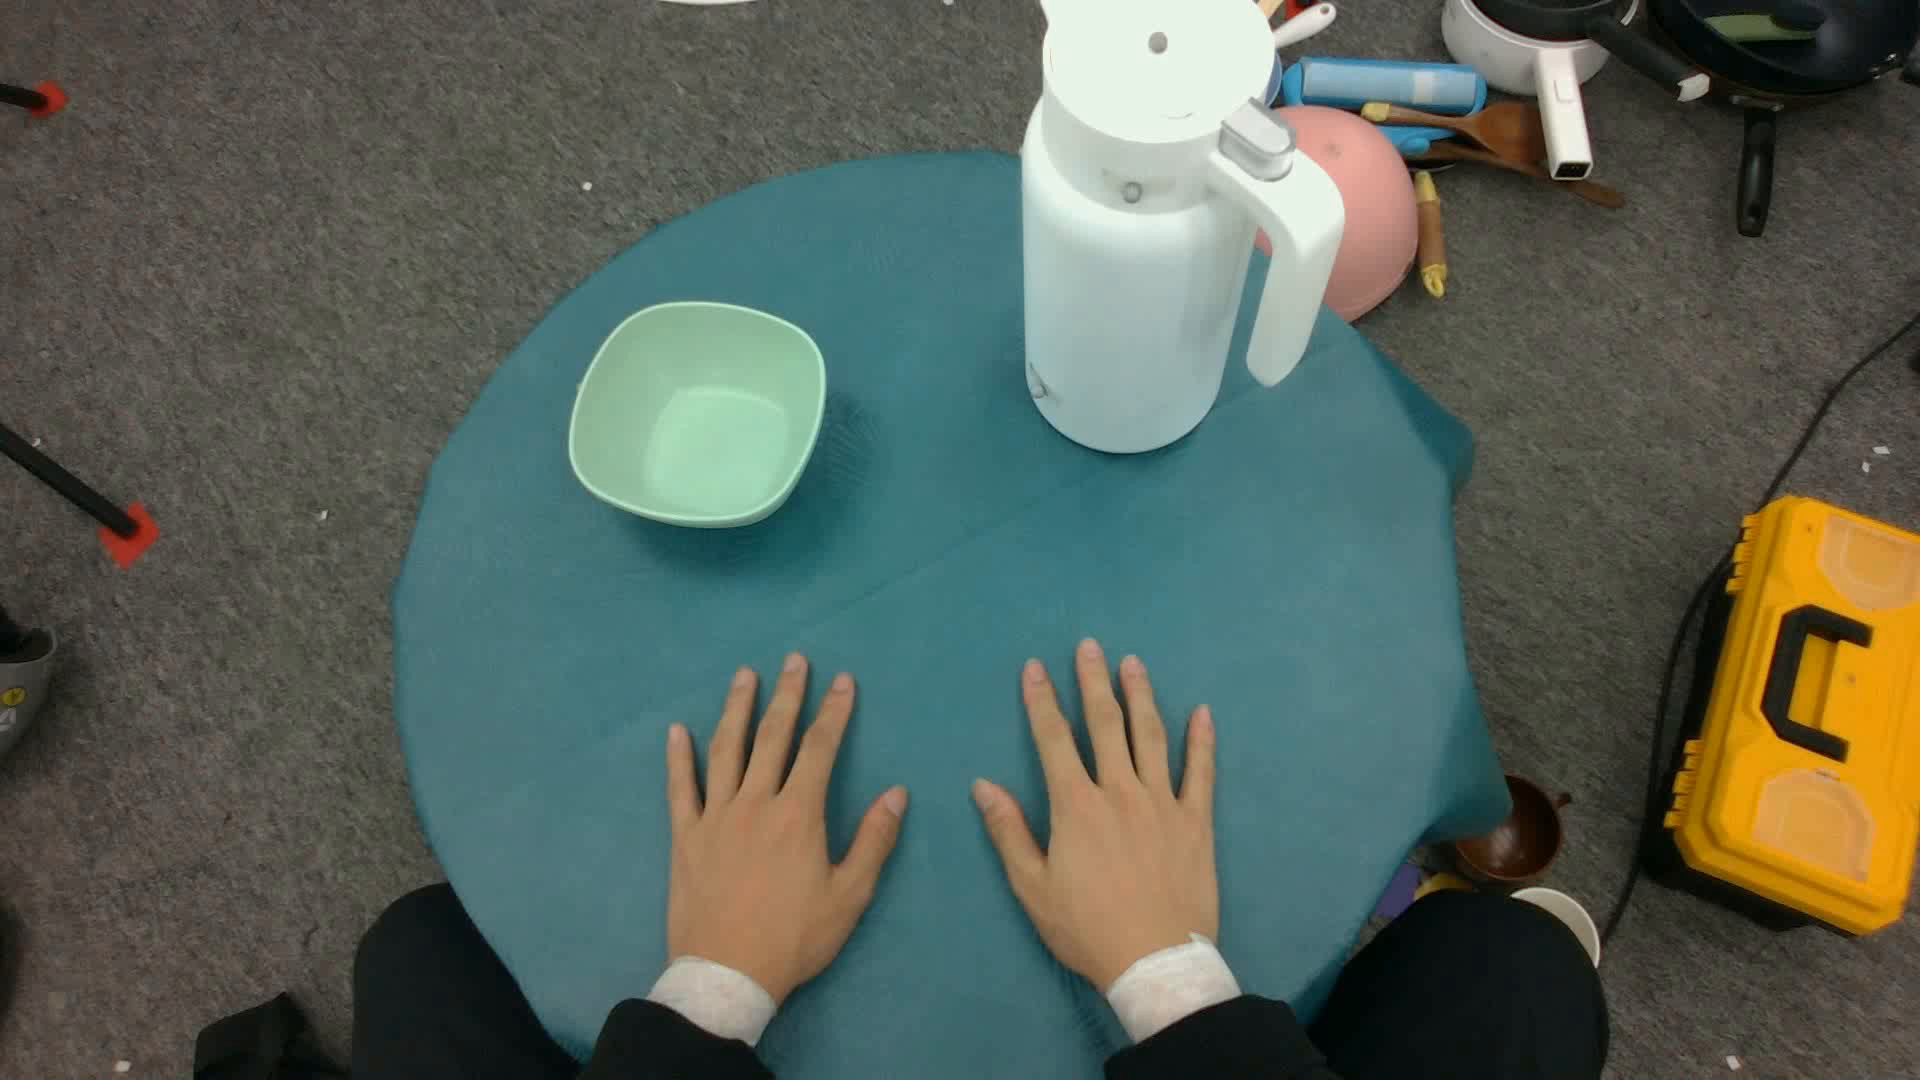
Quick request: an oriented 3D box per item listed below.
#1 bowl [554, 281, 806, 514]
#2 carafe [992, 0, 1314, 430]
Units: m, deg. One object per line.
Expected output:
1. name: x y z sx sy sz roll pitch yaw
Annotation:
1. bowl: -0.156 -0.075 0.797 0.151 0.058 0.152 0 73 1
2. carafe: 0.089 -0.156 0.703 0.124 0.268 0.173 -41 71 -17
